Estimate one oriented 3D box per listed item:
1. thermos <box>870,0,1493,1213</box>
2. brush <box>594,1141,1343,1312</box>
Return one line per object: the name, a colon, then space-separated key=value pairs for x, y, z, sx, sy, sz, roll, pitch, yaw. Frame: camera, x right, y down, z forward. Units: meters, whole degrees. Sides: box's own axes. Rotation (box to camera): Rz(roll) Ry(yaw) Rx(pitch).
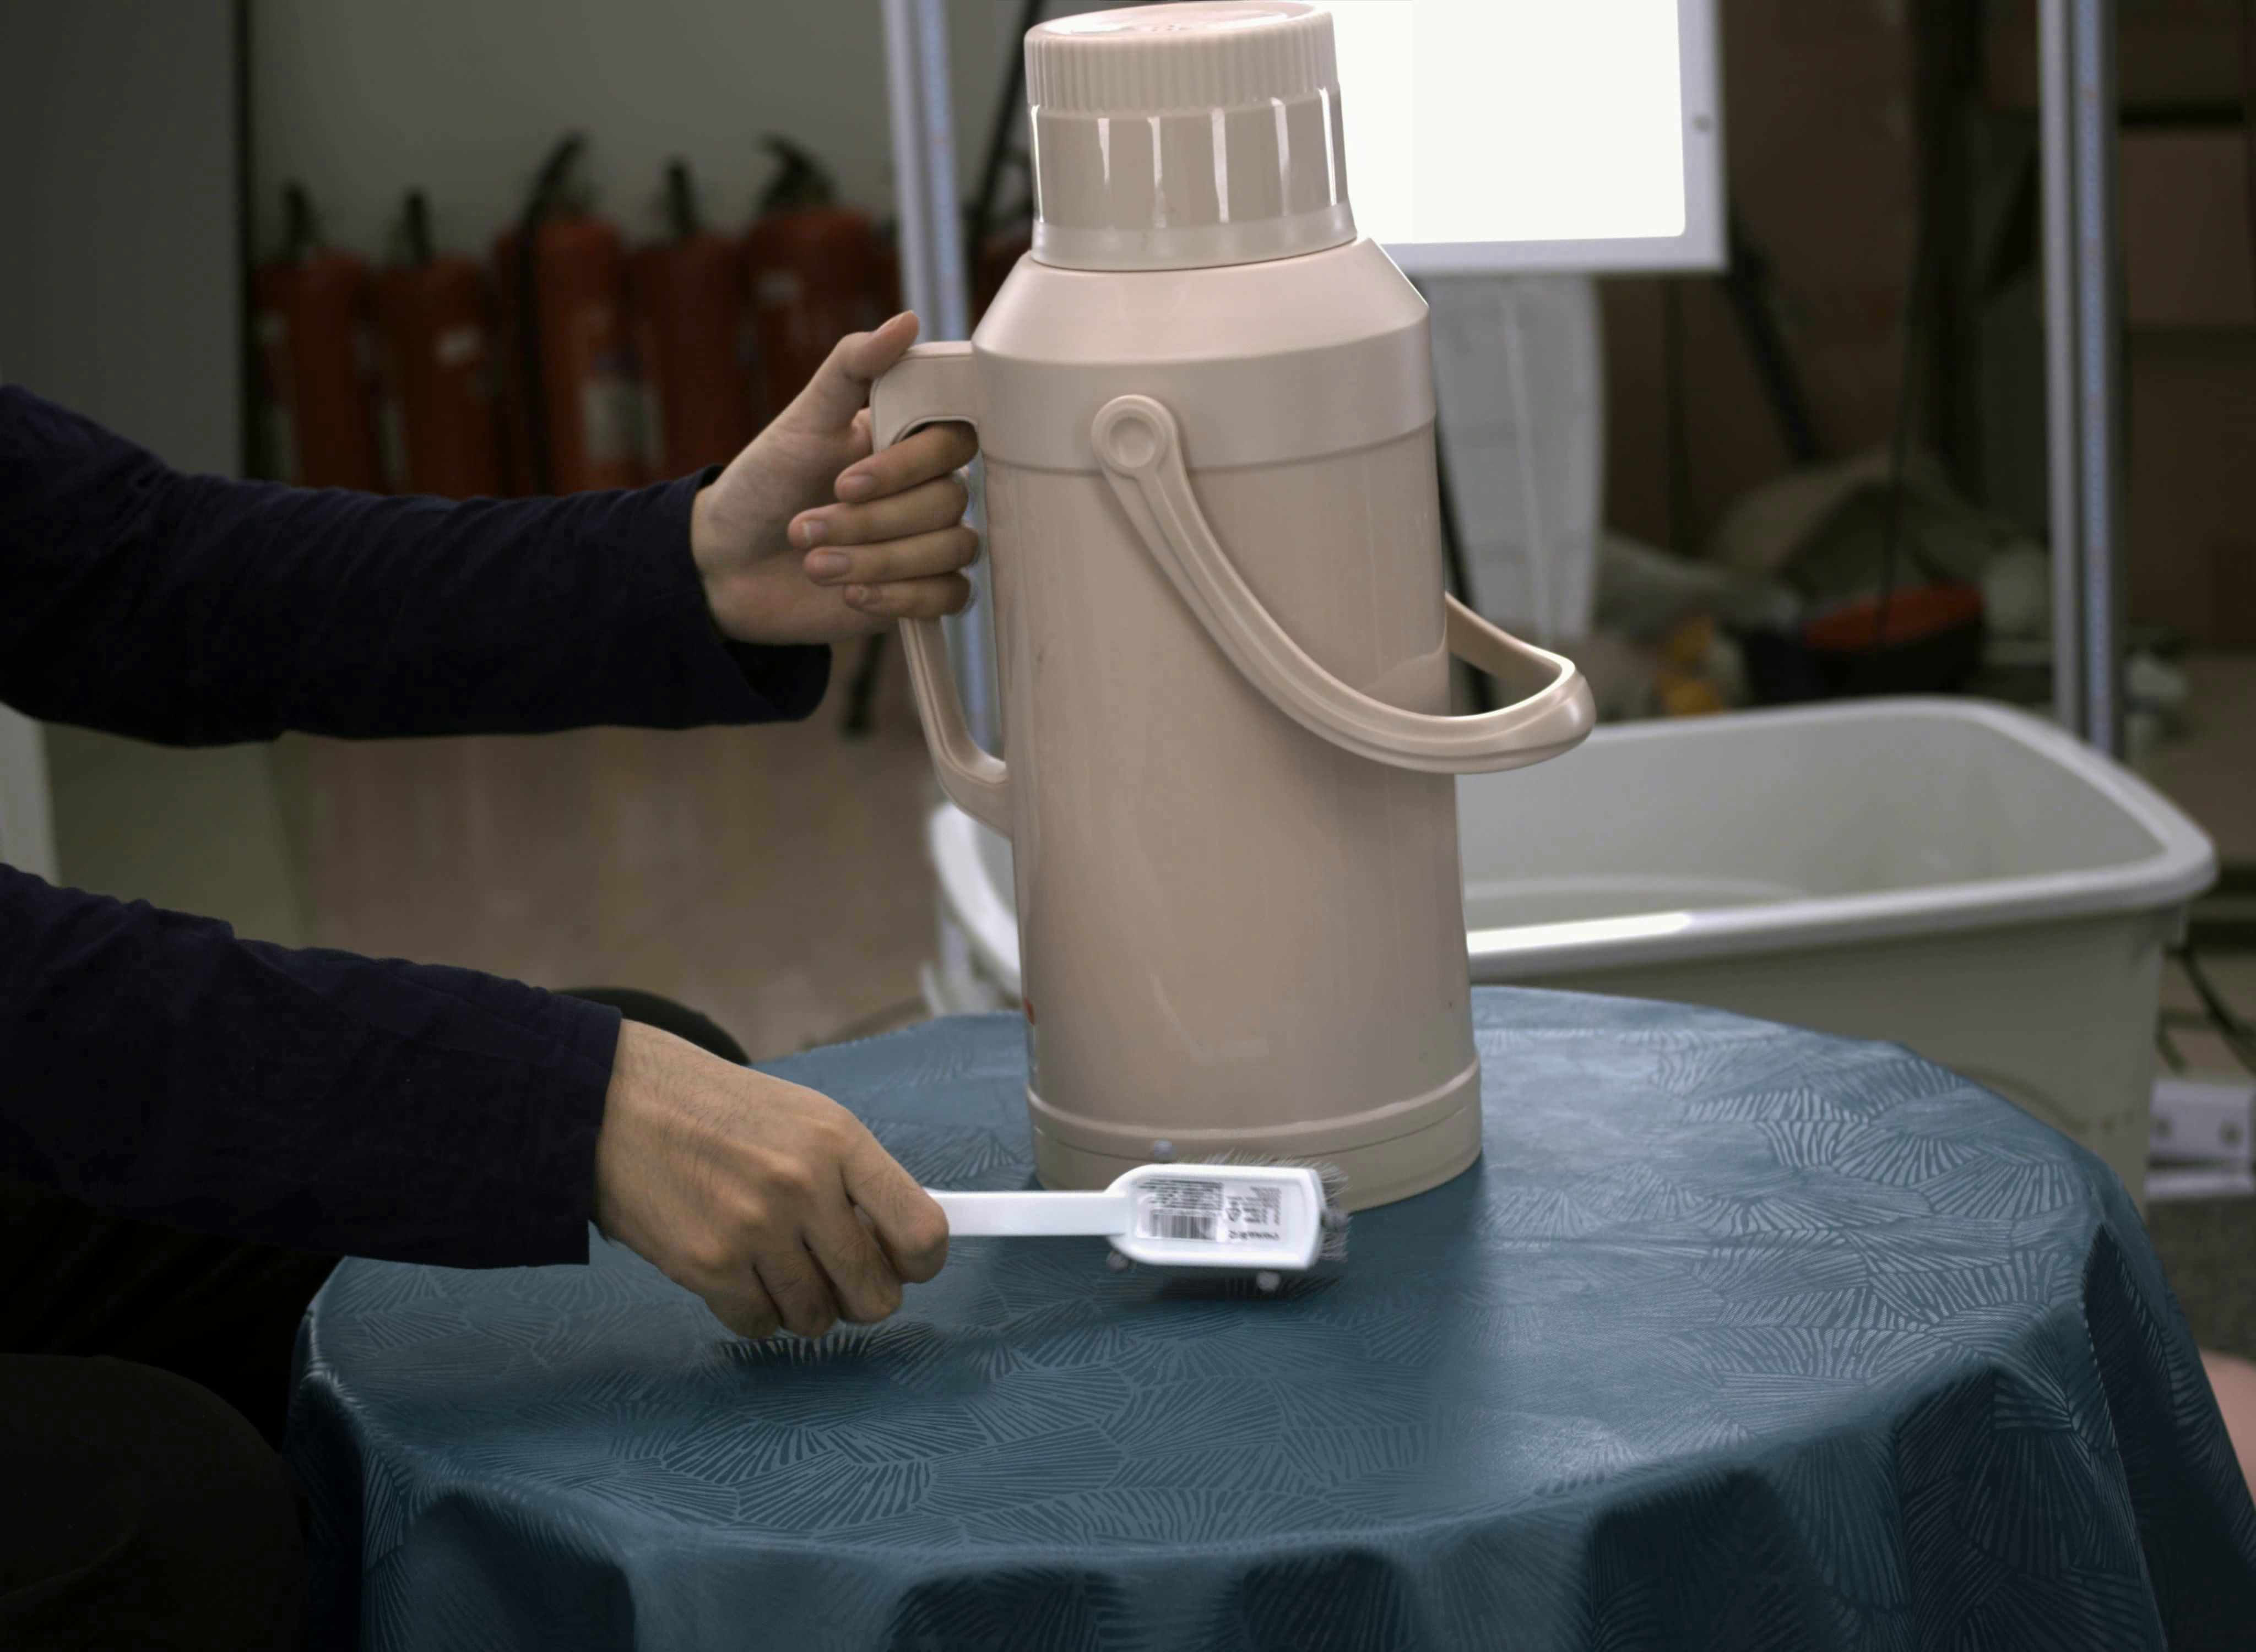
thermos: x=0.019 y=-0.077 z=1.887 sx=0.209 sy=0.408 sz=0.172 roll=0 pitch=16 yaw=18
brush: x=-0.050 y=0.130 z=1.777 sx=0.243 sy=0.034 sz=0.050 roll=-5 pitch=13 yaw=0
